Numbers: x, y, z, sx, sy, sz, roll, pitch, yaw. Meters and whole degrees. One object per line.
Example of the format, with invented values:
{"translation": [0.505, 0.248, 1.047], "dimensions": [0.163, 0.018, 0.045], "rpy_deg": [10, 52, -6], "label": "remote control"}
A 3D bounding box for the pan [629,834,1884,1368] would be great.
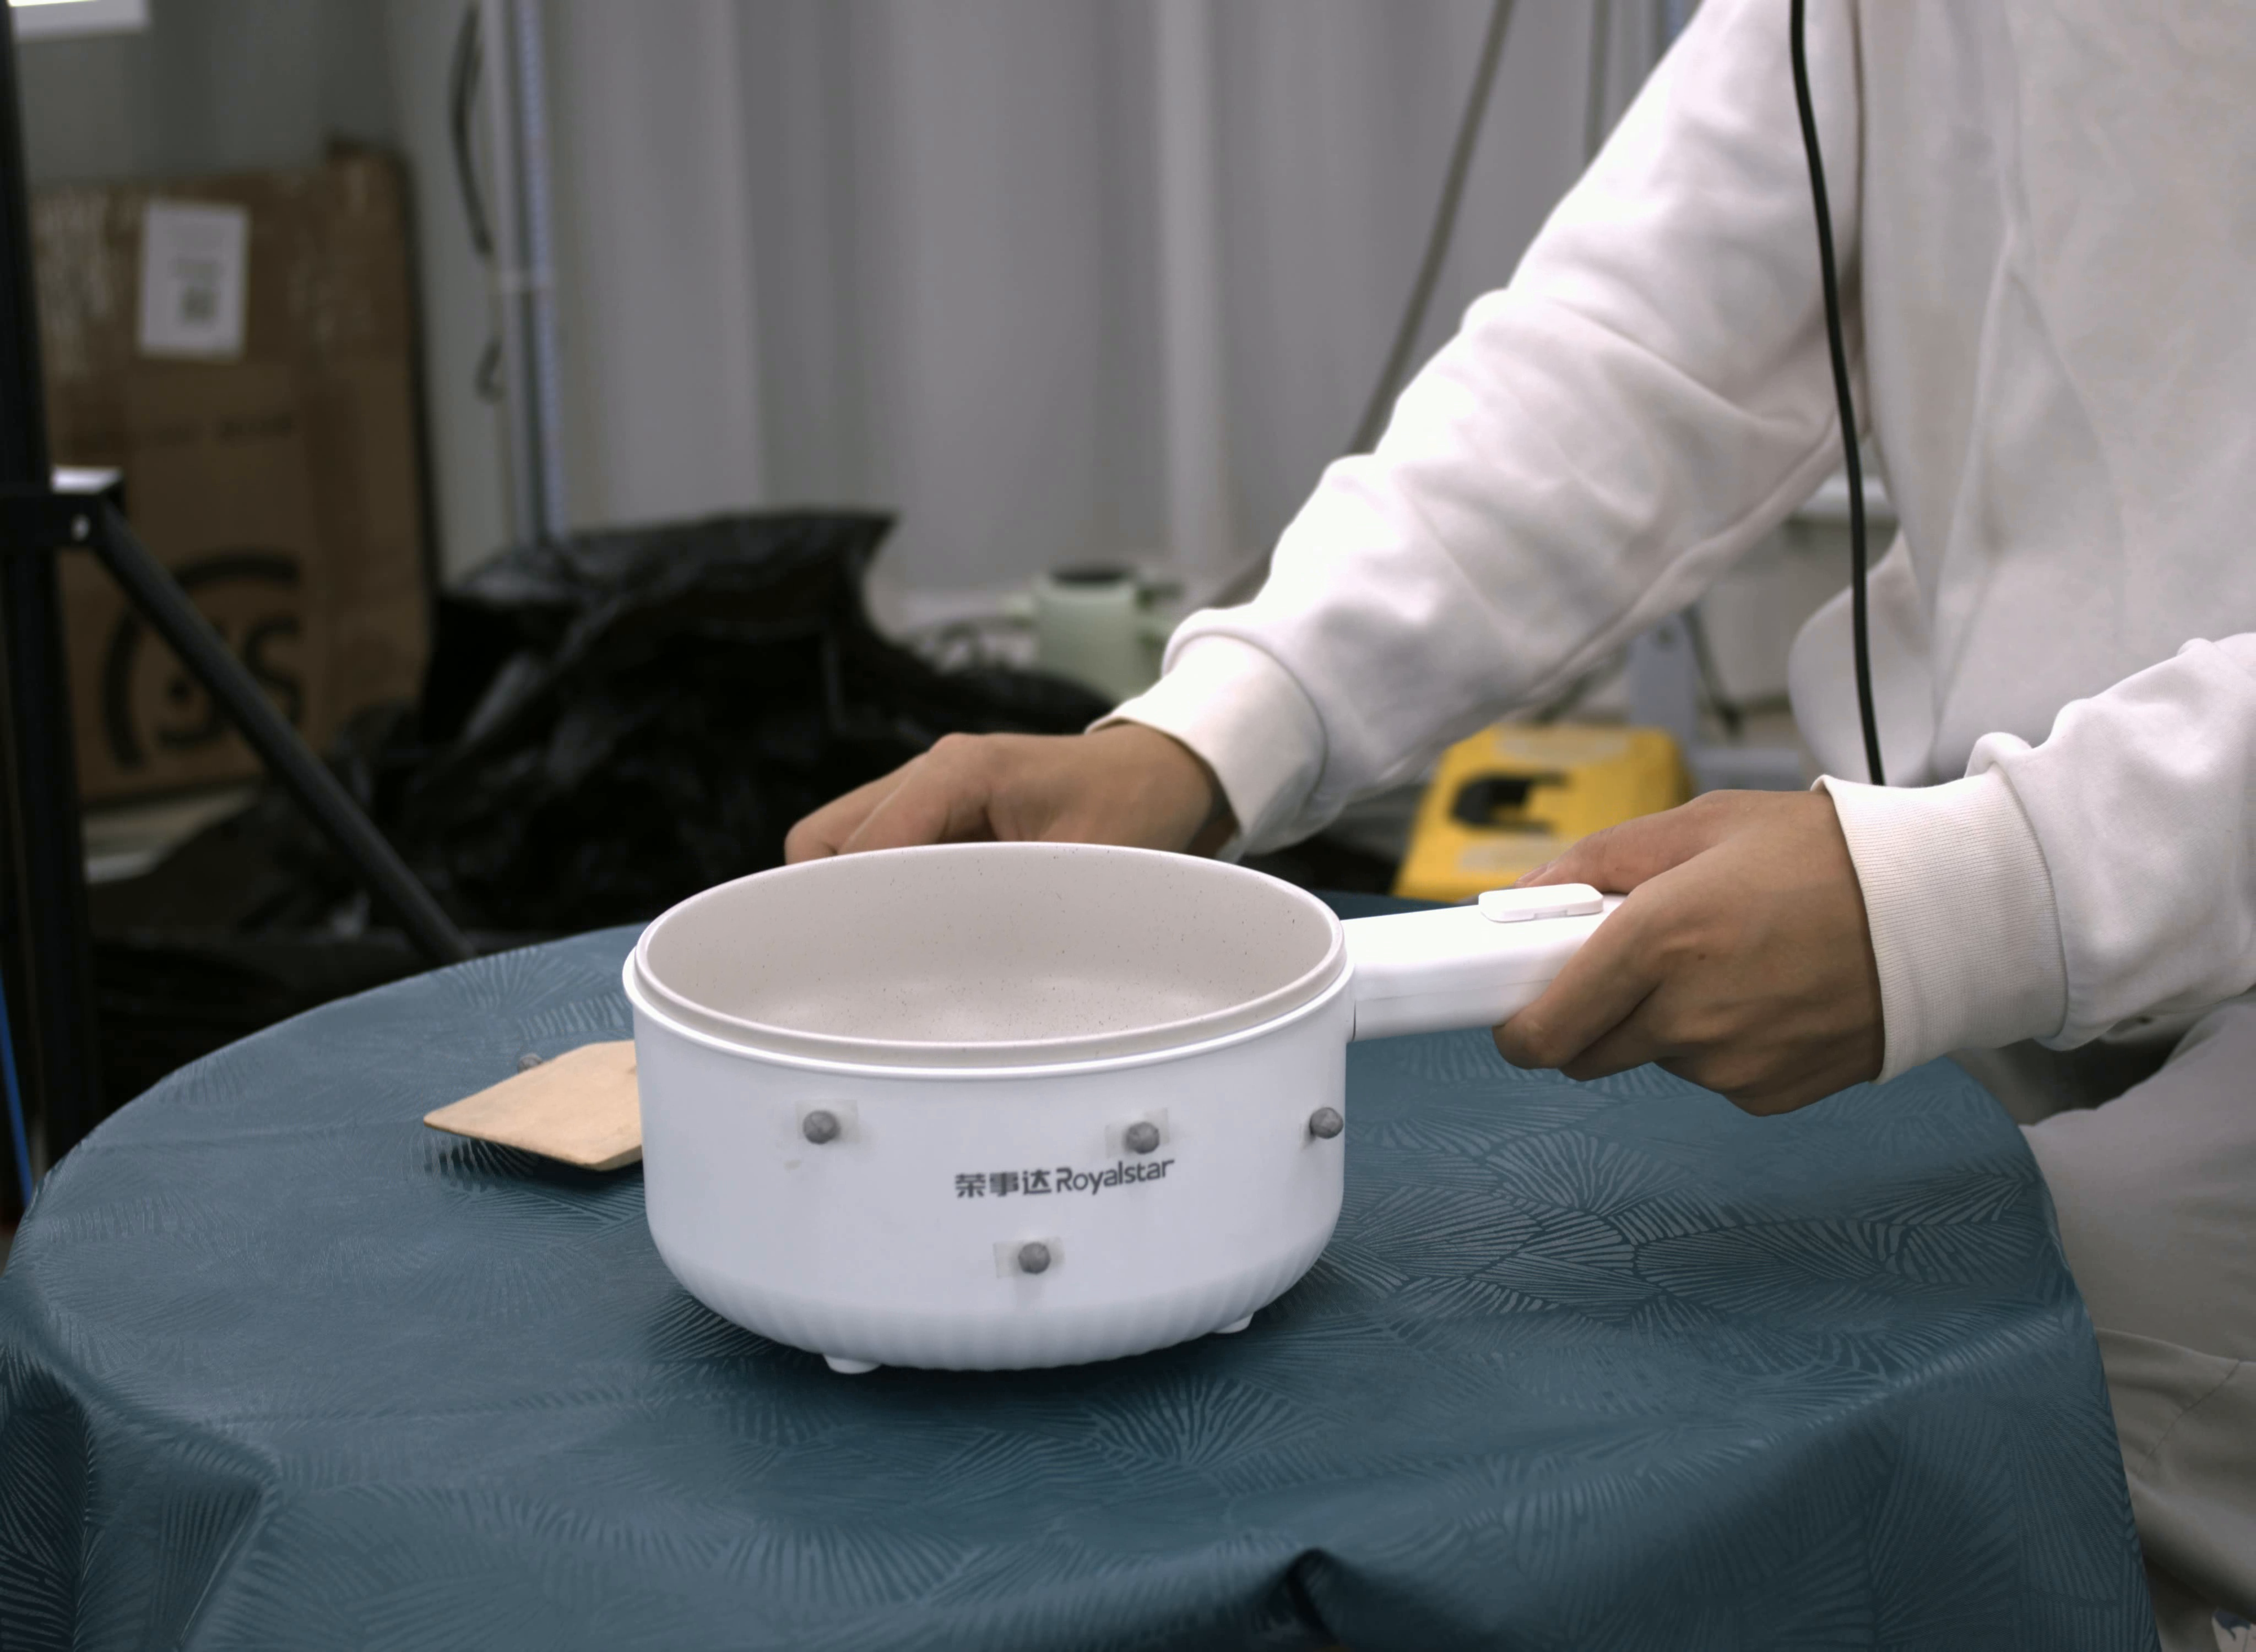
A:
{"translation": [0.038, 0.071, 1.483], "dimensions": [0.350, 0.102, 0.204], "rpy_deg": [-5, 16, -12], "label": "pan"}

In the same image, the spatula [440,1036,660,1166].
{"translation": [-0.105, 0.058, 1.709], "dimensions": [0.073, 0.010, 0.287], "rpy_deg": [10, 21, 32], "label": "spatula"}
